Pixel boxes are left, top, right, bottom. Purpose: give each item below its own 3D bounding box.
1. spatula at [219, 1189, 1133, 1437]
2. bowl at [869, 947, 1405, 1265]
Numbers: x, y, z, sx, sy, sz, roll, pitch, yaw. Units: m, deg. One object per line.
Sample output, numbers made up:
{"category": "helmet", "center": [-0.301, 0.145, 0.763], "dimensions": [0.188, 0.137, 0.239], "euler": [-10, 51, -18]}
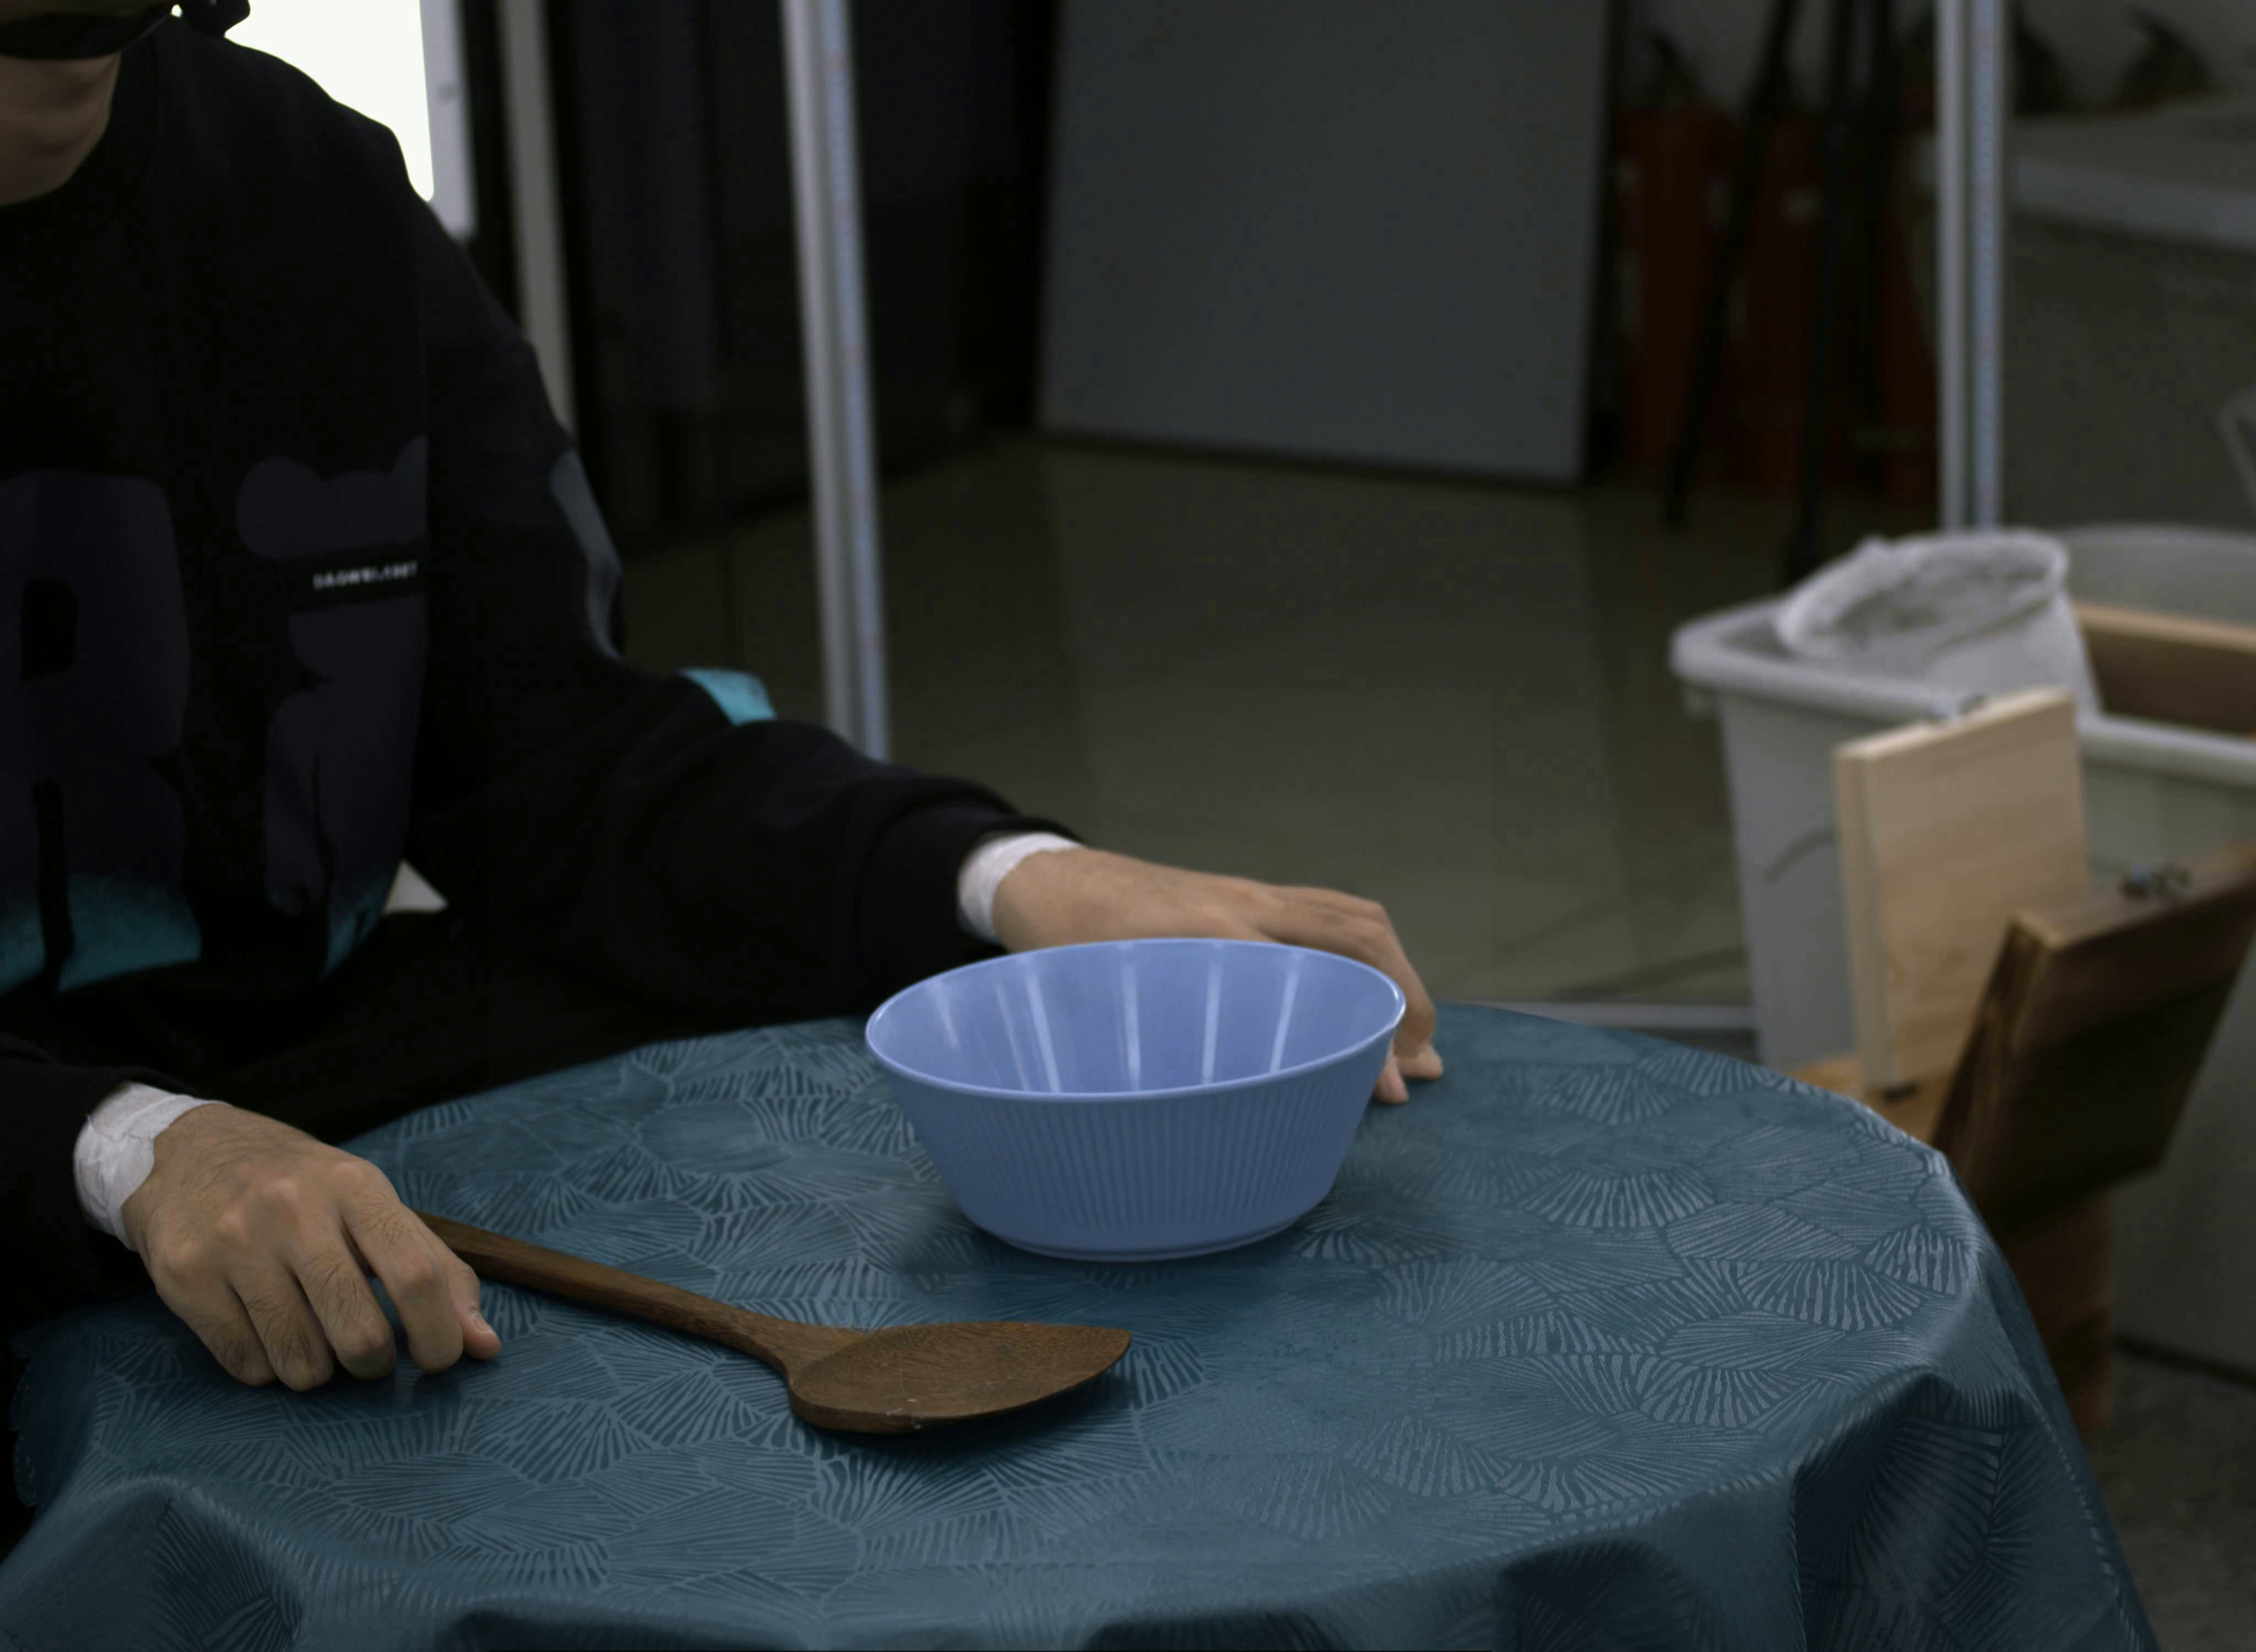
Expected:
{"category": "spatula", "center": [-0.159, 0.147, 1.687], "dimensions": [0.389, 0.016, 0.094], "euler": [9, 18, 43]}
{"category": "bowl", "center": [0.005, 0.092, 1.741], "dimensions": [0.174, 0.071, 0.176], "euler": [-5, 12, 0]}
